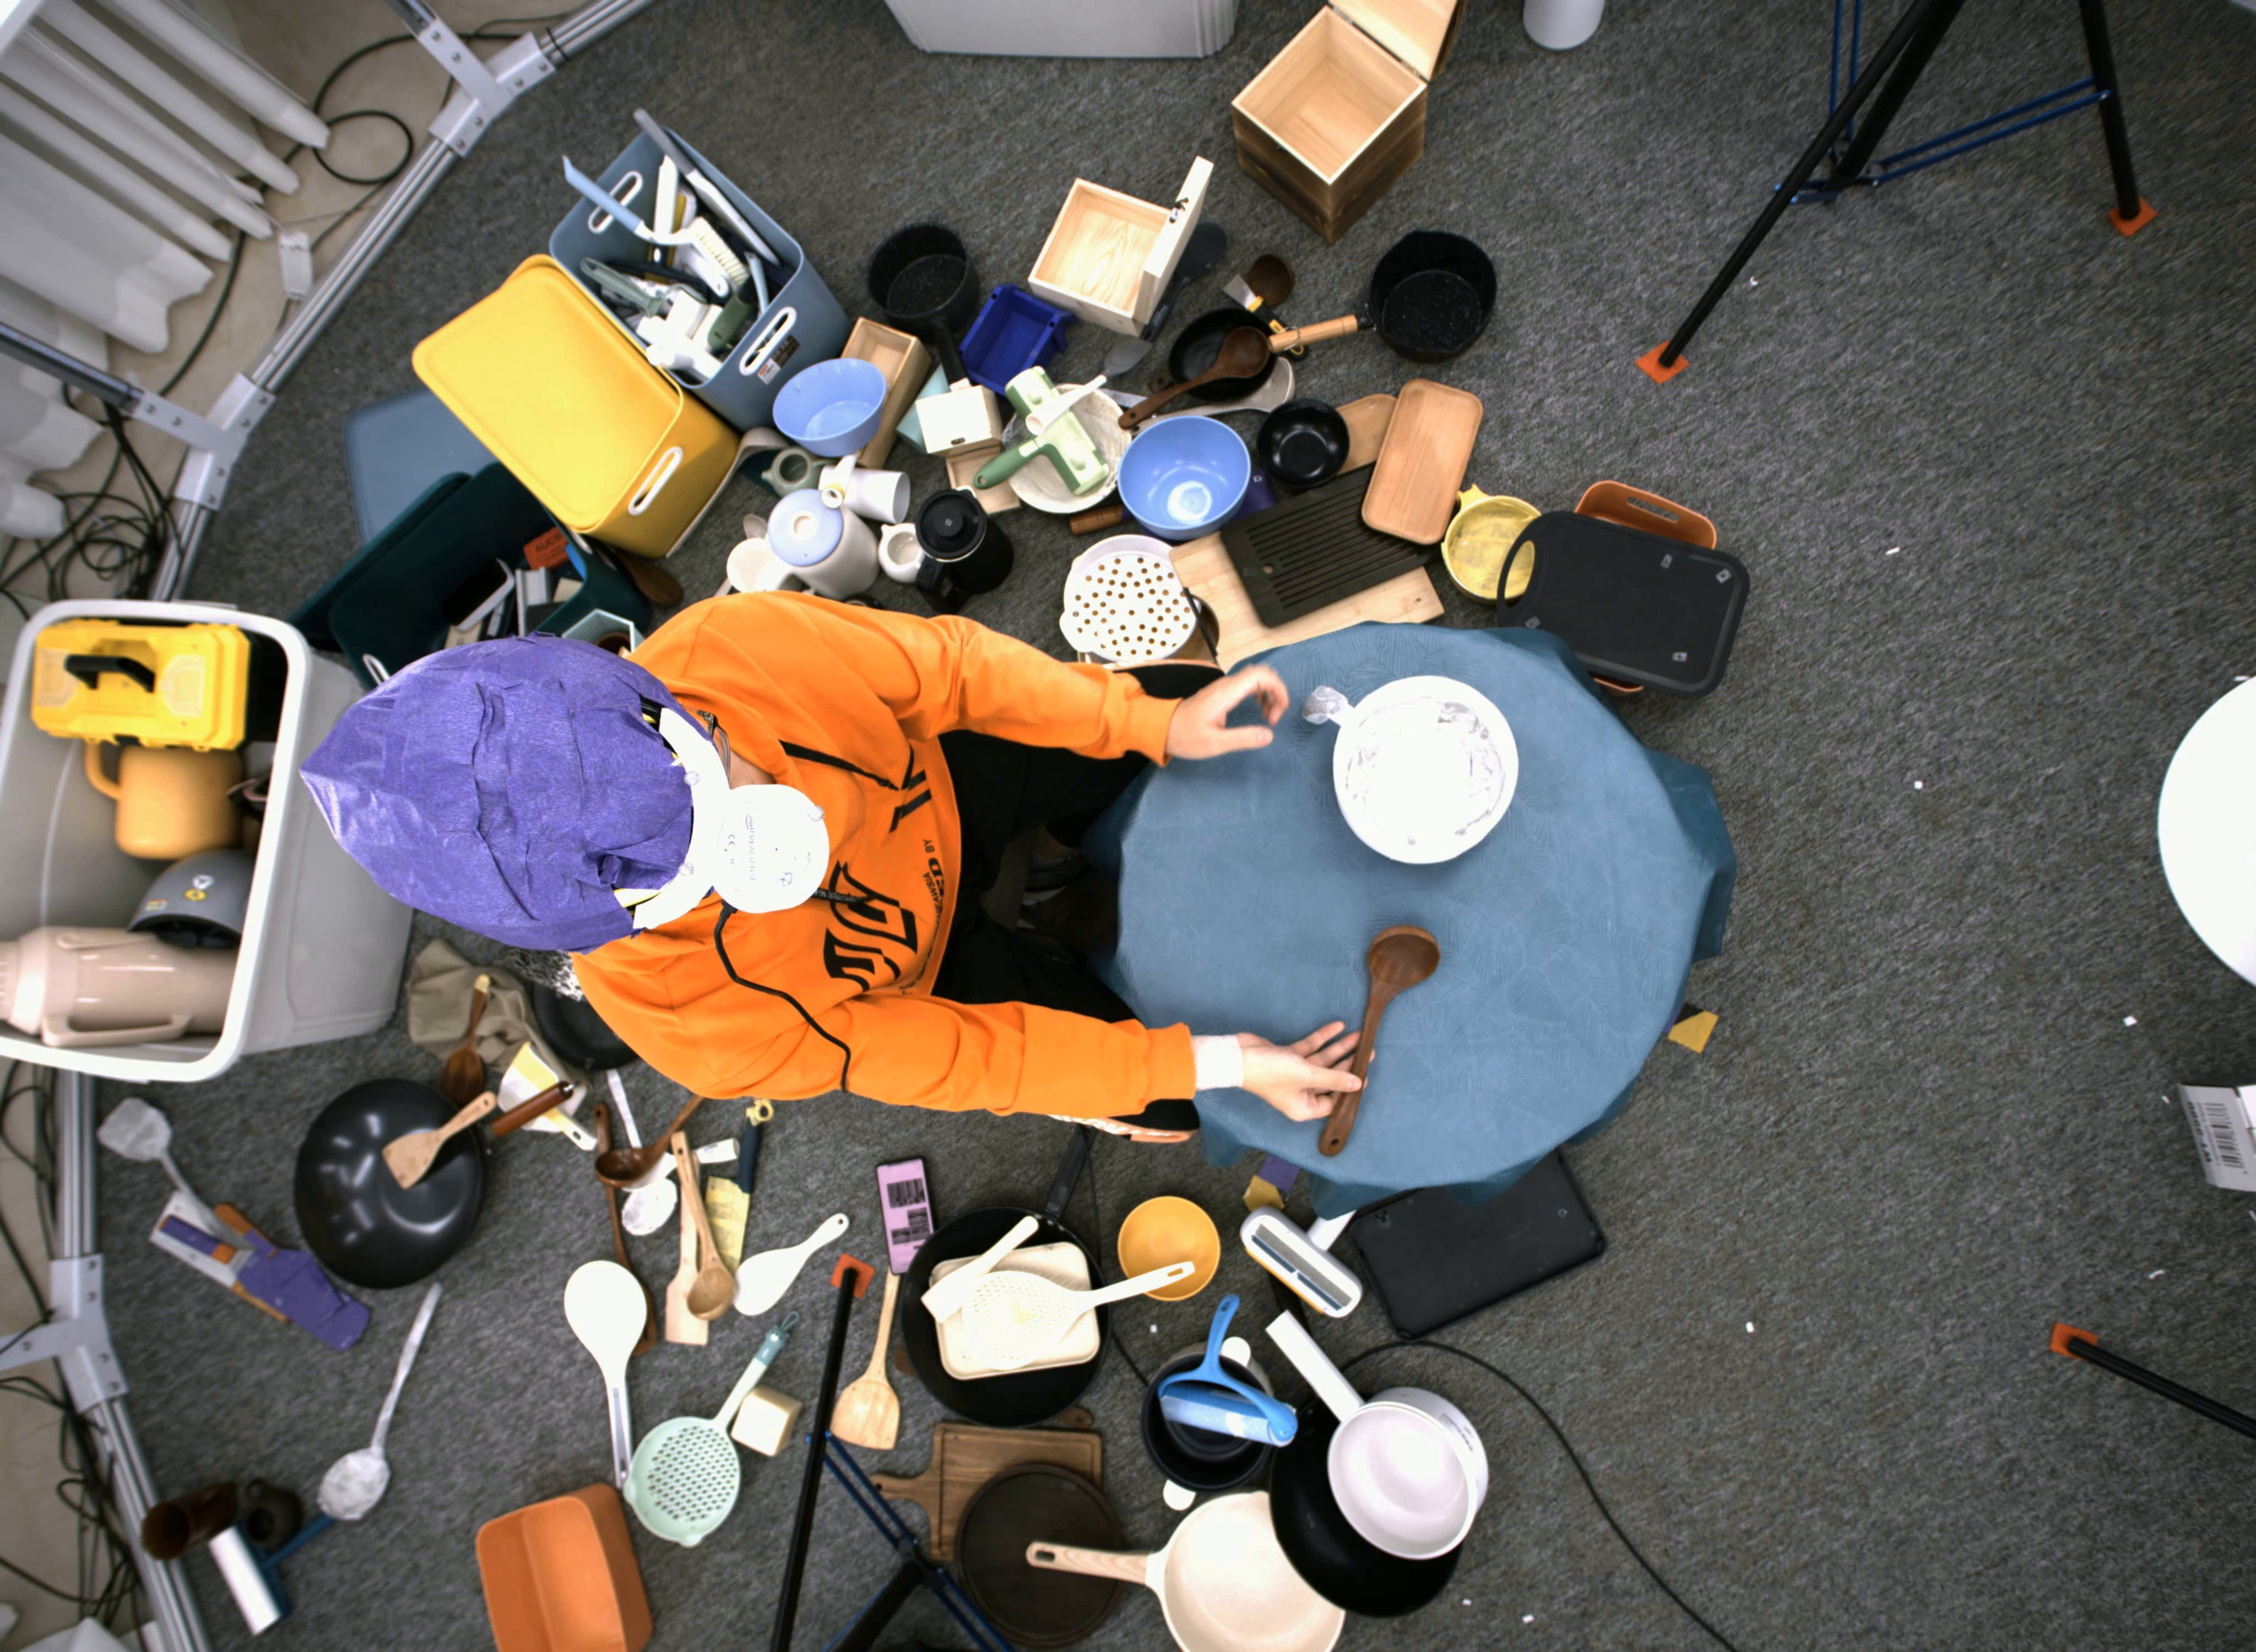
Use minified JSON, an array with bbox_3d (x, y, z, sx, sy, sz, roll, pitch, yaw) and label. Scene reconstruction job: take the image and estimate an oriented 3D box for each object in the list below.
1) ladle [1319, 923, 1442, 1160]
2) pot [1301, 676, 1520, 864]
[{"bbox_3d":[0.252,0.223,1.423,0.076,0.065,0.260,20,90,-3],"label":"ladle"},{"bbox_3d":[0.275,-0.069,1.397,0.233,0.137,0.179,35,92,10],"label":"pot"}]
